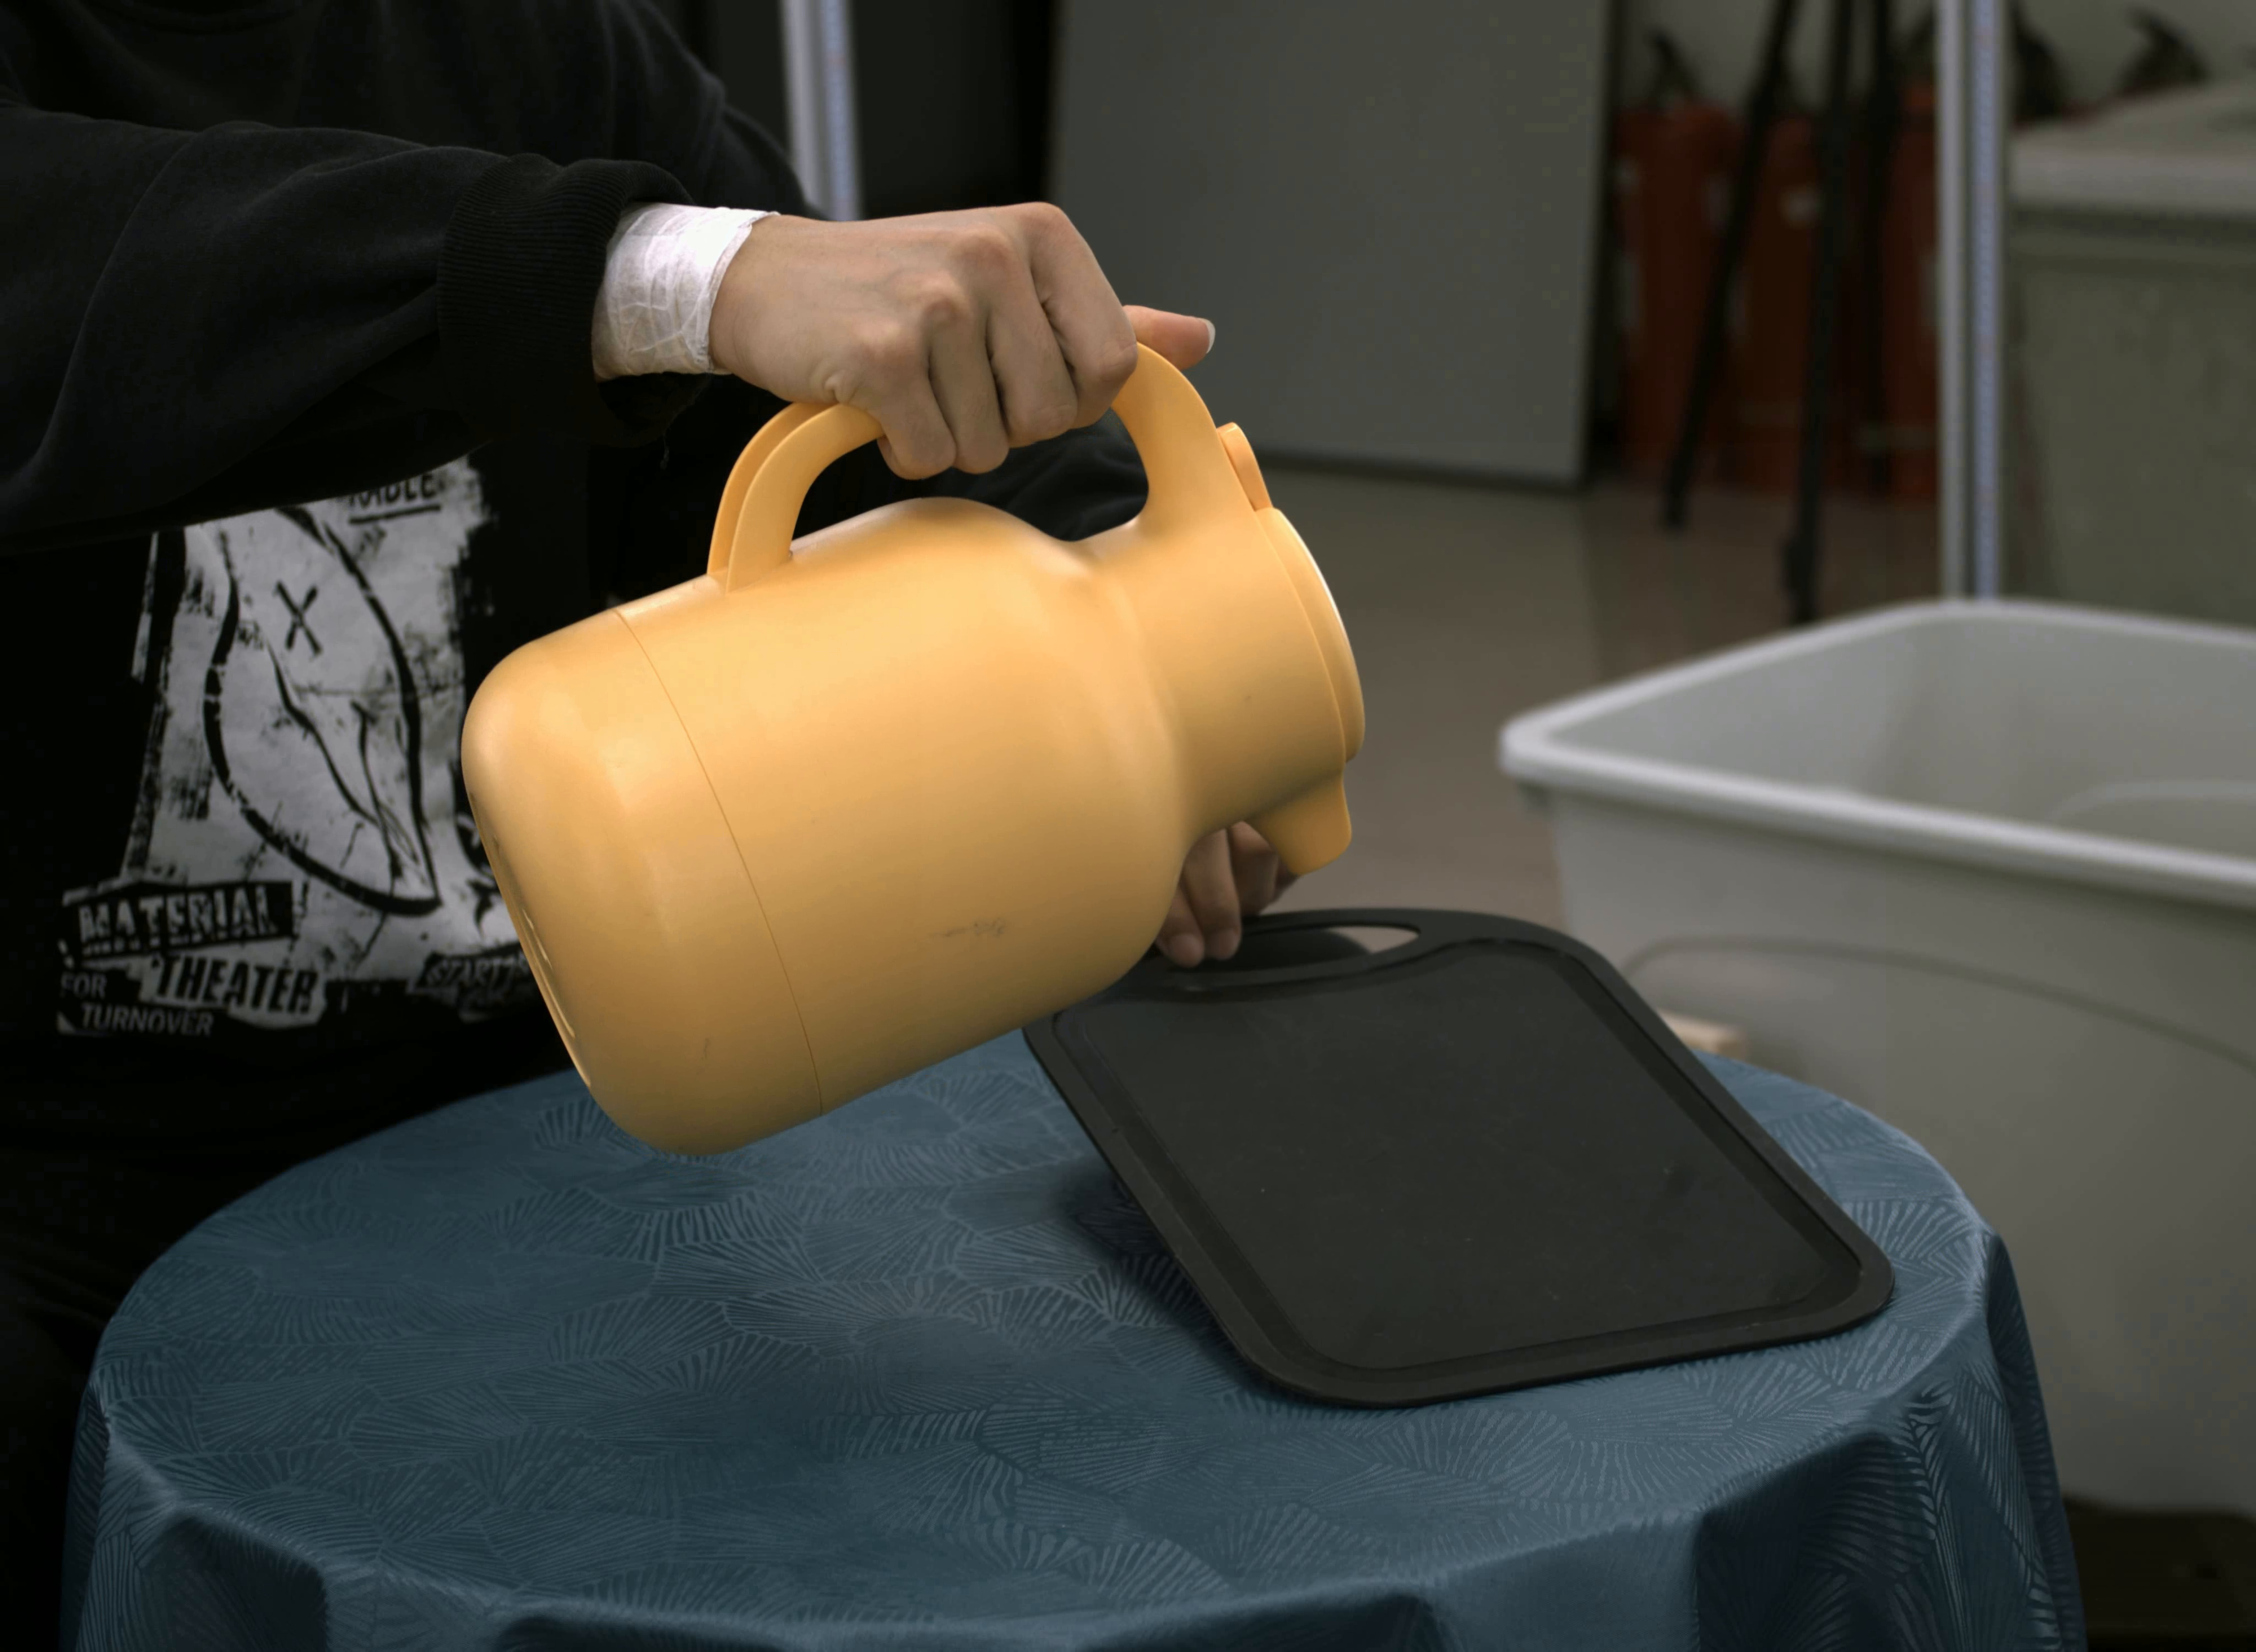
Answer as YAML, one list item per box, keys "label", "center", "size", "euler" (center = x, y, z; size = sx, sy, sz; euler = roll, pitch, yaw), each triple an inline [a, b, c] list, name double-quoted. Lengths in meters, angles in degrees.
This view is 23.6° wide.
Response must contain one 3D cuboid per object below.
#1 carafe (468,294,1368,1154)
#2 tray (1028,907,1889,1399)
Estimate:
- label: "carafe"
  center: [-0.064, -0.036, 1.597]
  size: [0.256, 0.203, 0.165]
  euler: [-23, 16, -12]
- label: "tray"
  center: [0.095, 0.094, 1.716]
  size: [0.207, 0.010, 0.328]
  euler: [-8, 25, -15]
